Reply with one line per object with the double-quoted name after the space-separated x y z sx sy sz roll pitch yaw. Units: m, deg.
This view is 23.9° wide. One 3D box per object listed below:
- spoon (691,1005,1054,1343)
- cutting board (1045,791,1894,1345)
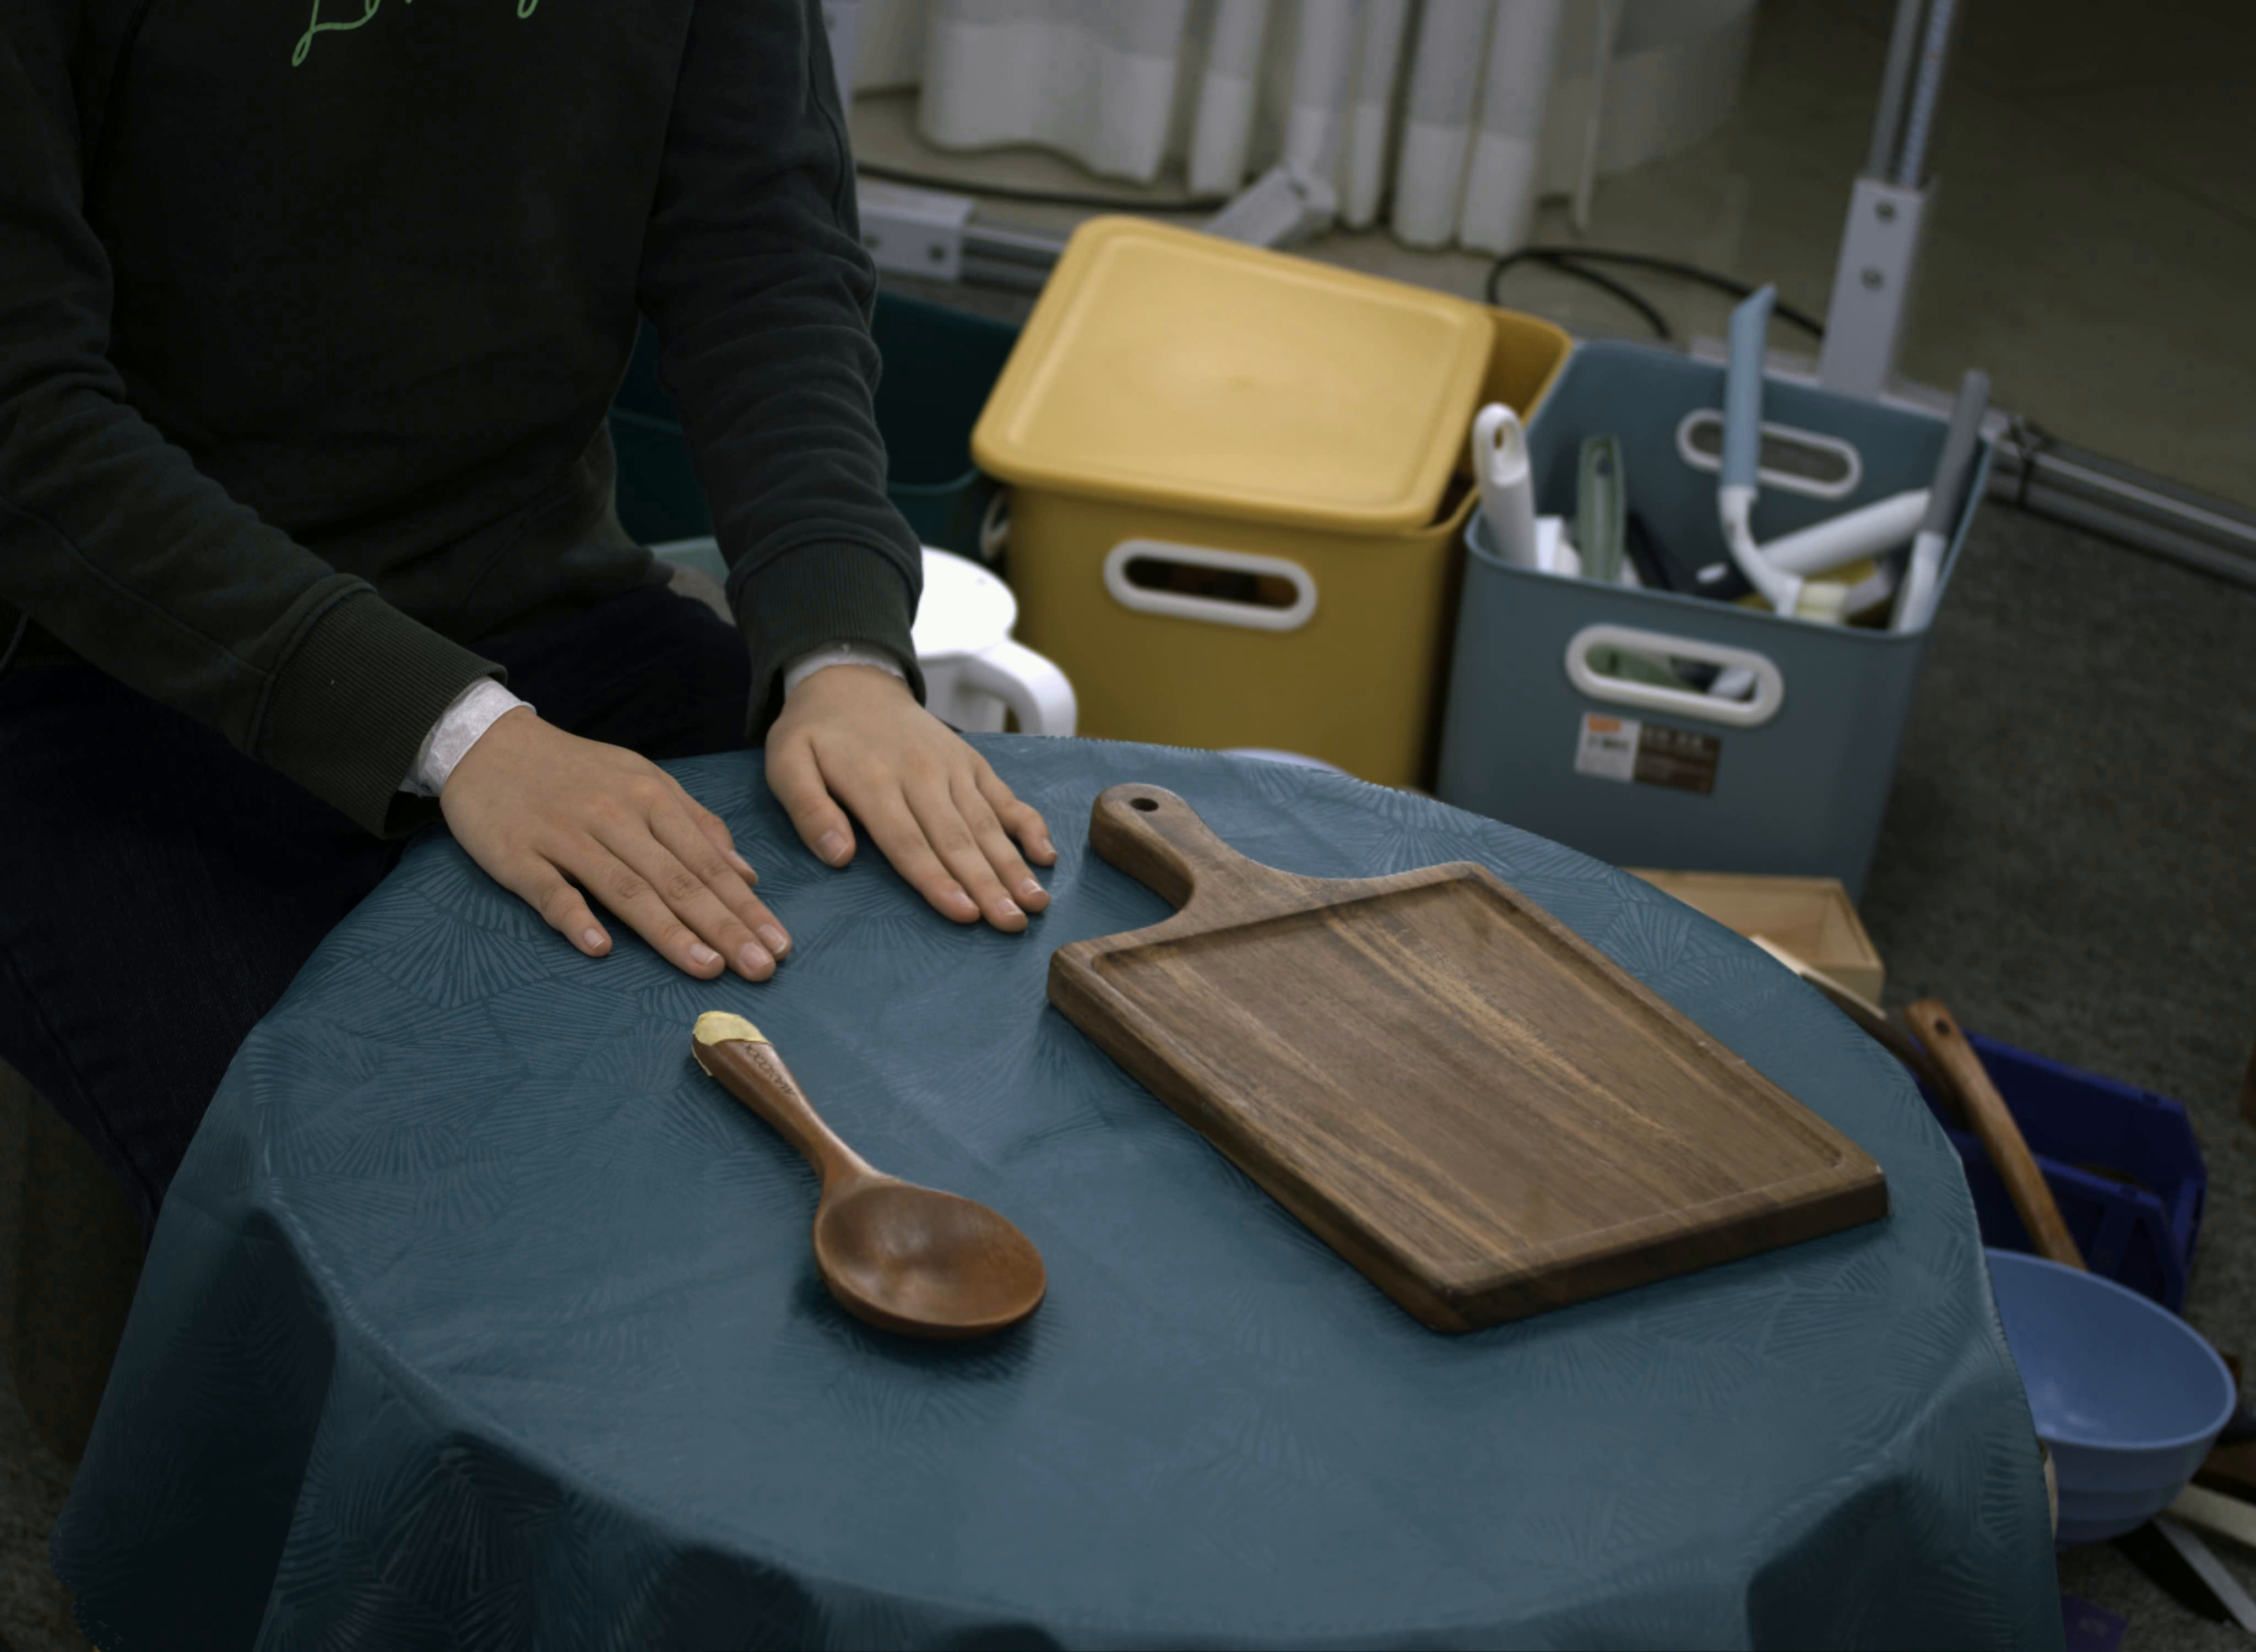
-0.094 0.116 1.774 0.075 0.017 0.218 -10 32 -26 "spoon"
0.090 0.071 1.907 0.200 0.023 0.355 -12 32 -31 "cutting board"
